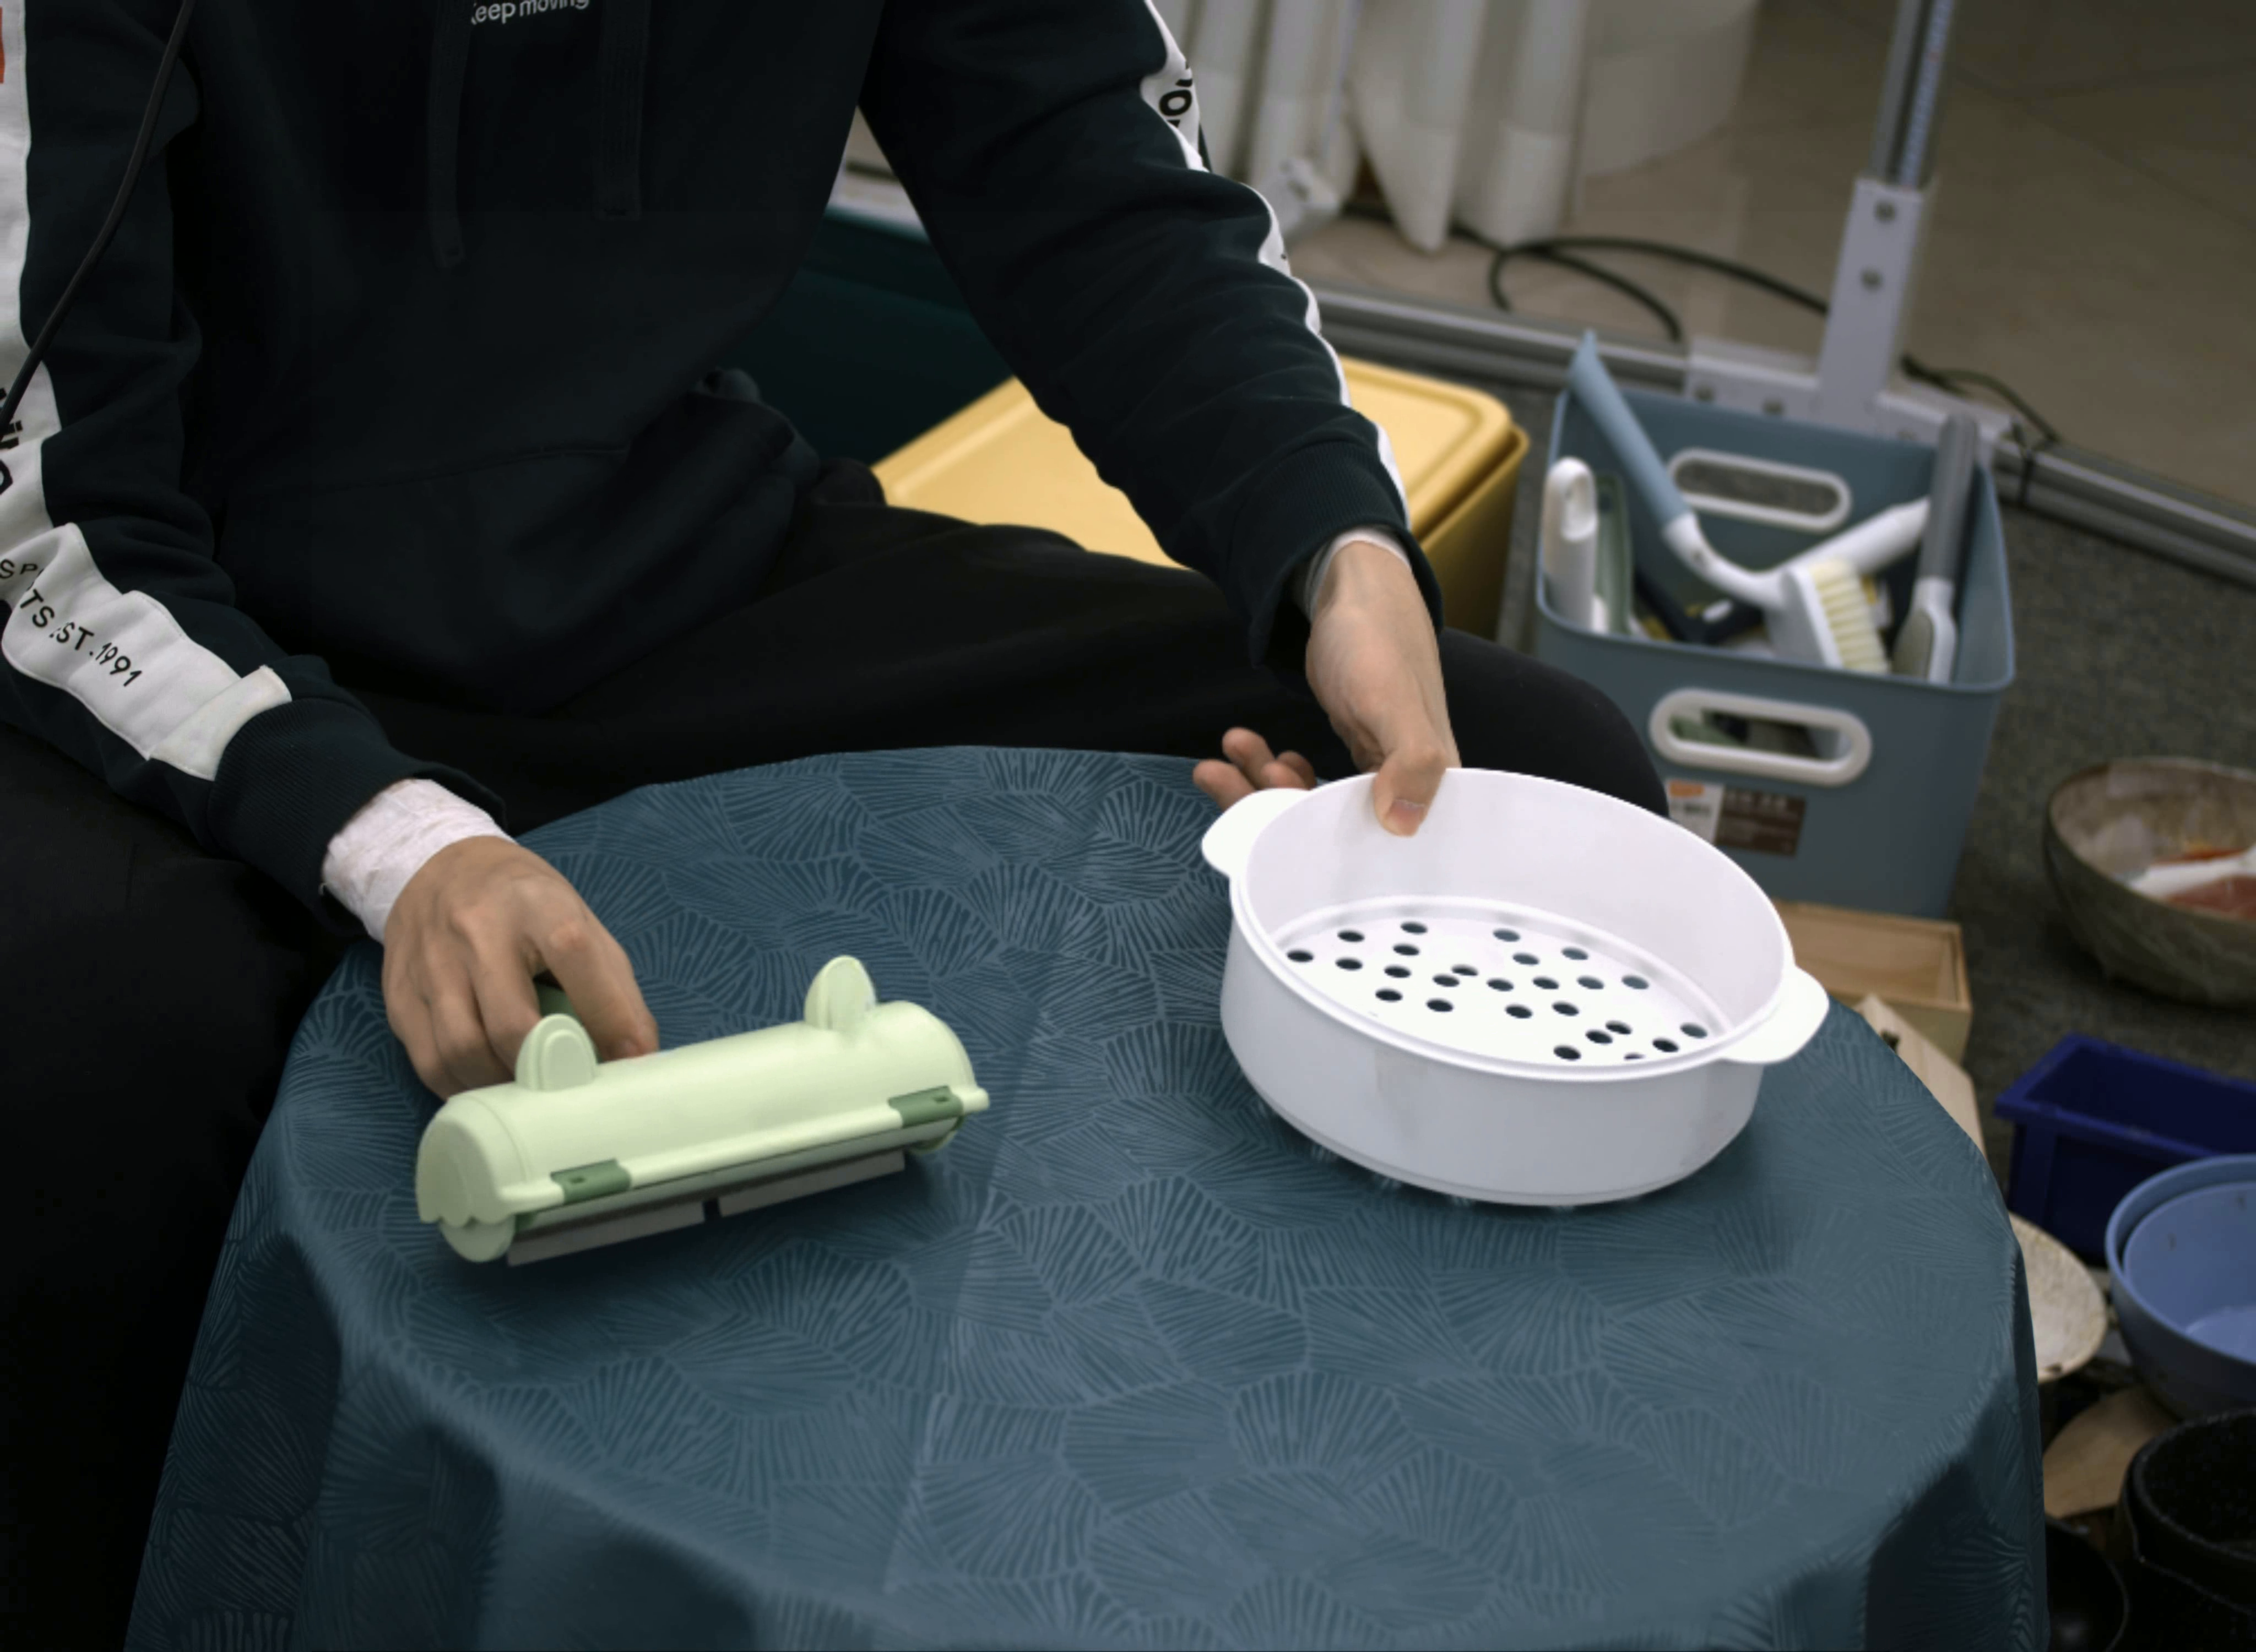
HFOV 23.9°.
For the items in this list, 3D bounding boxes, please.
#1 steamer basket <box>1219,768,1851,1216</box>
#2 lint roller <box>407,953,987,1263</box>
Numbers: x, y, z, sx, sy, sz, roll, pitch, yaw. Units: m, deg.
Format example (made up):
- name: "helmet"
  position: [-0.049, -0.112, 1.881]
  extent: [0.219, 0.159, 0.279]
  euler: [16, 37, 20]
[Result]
- name: "steamer basket"
  position: [0.137, 0.059, 1.873]
  extent: [0.231, 0.069, 0.202]
  euler: [22, 33, 18]
- name: "lint roller"
  position: [-0.173, 0.068, 1.773]
  extent: [0.197, 0.082, 0.185]
  euler: [-11, 33, -38]
